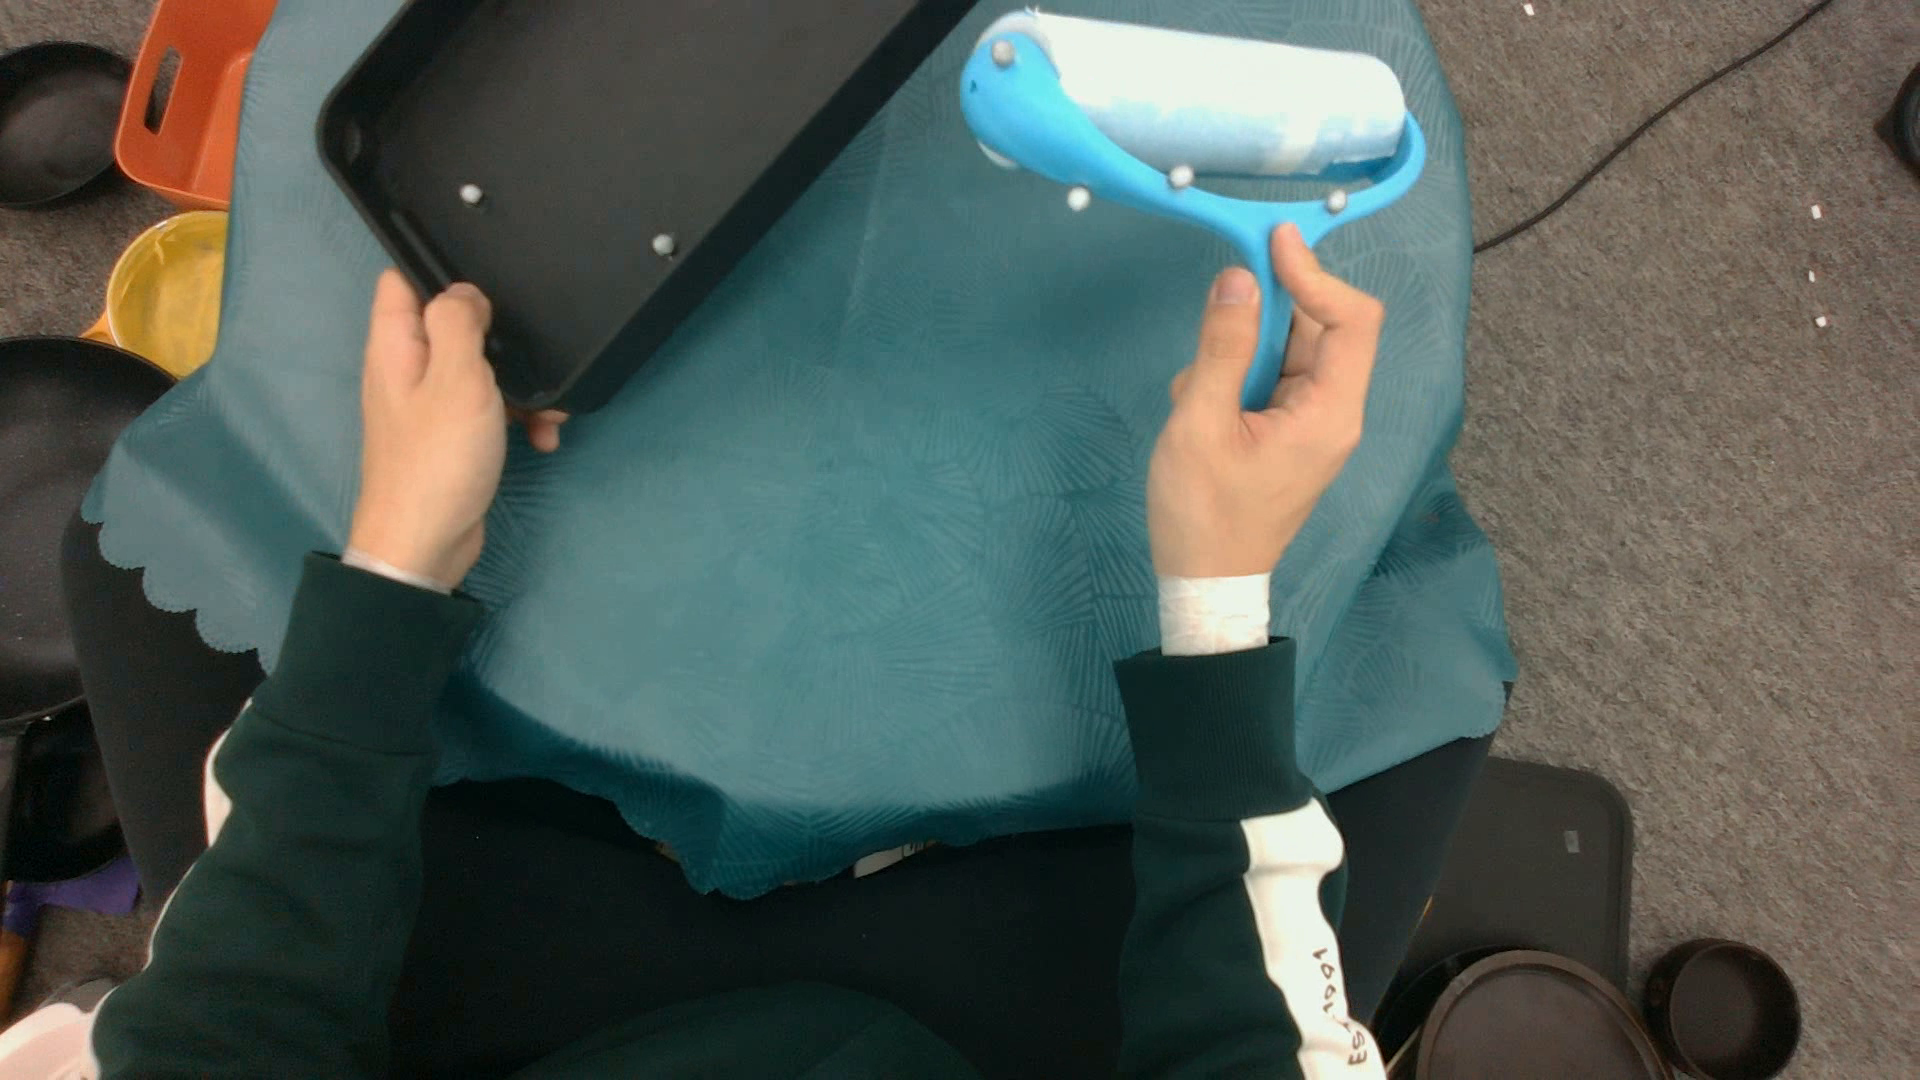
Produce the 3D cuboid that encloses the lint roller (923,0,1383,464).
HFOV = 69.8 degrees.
[{"bbox_3d":[0.092,-0.122,0.544,0.230,0.067,0.180,-15,95,-40],"label":"lint roller"}]

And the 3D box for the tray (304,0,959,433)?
[{"bbox_3d":[-0.124,-0.209,0.563,0.317,0.037,0.184,-46,73,12],"label":"tray"}]
